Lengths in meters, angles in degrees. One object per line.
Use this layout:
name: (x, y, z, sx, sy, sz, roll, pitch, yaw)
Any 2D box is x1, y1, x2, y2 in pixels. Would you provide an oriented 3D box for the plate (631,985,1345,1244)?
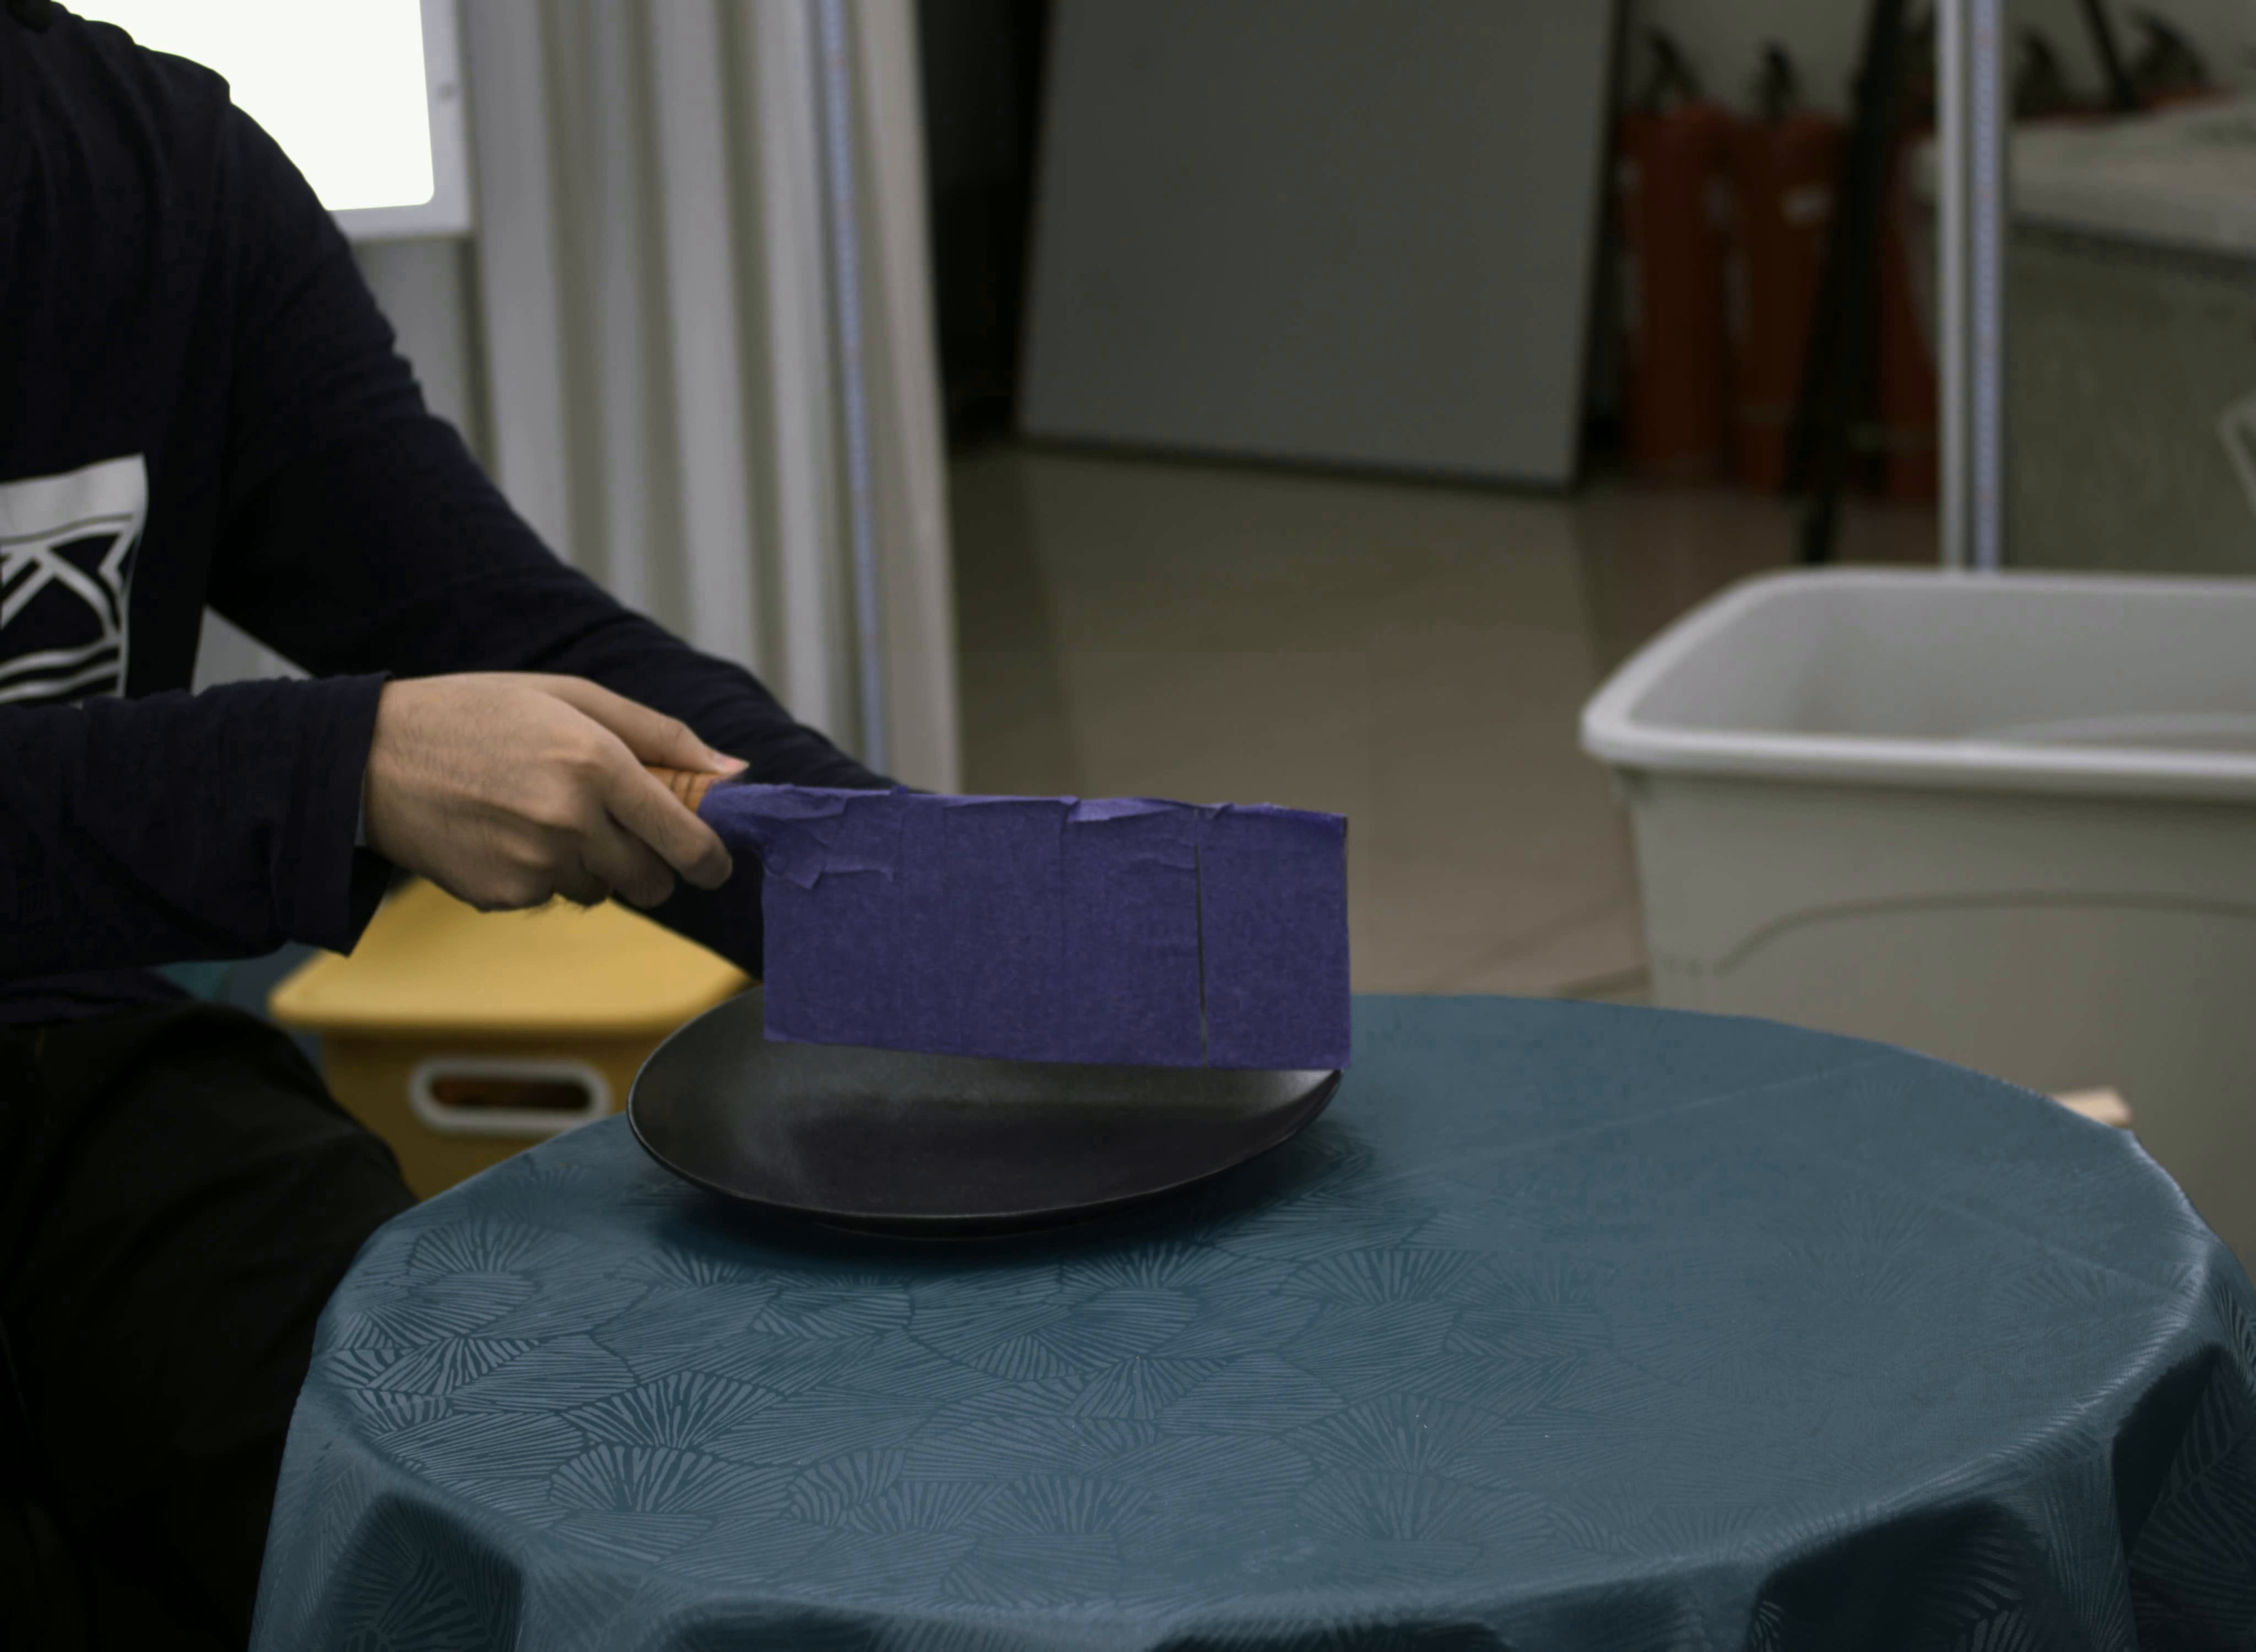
plate: (-0.046, 0.093, 1.817, 0.241, 0.023, 0.245, -5, 20, 1)

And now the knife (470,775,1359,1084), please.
knife: (-0.074, 0.033, 1.821, 0.314, 0.105, 0.032, 1, 6, 19)
